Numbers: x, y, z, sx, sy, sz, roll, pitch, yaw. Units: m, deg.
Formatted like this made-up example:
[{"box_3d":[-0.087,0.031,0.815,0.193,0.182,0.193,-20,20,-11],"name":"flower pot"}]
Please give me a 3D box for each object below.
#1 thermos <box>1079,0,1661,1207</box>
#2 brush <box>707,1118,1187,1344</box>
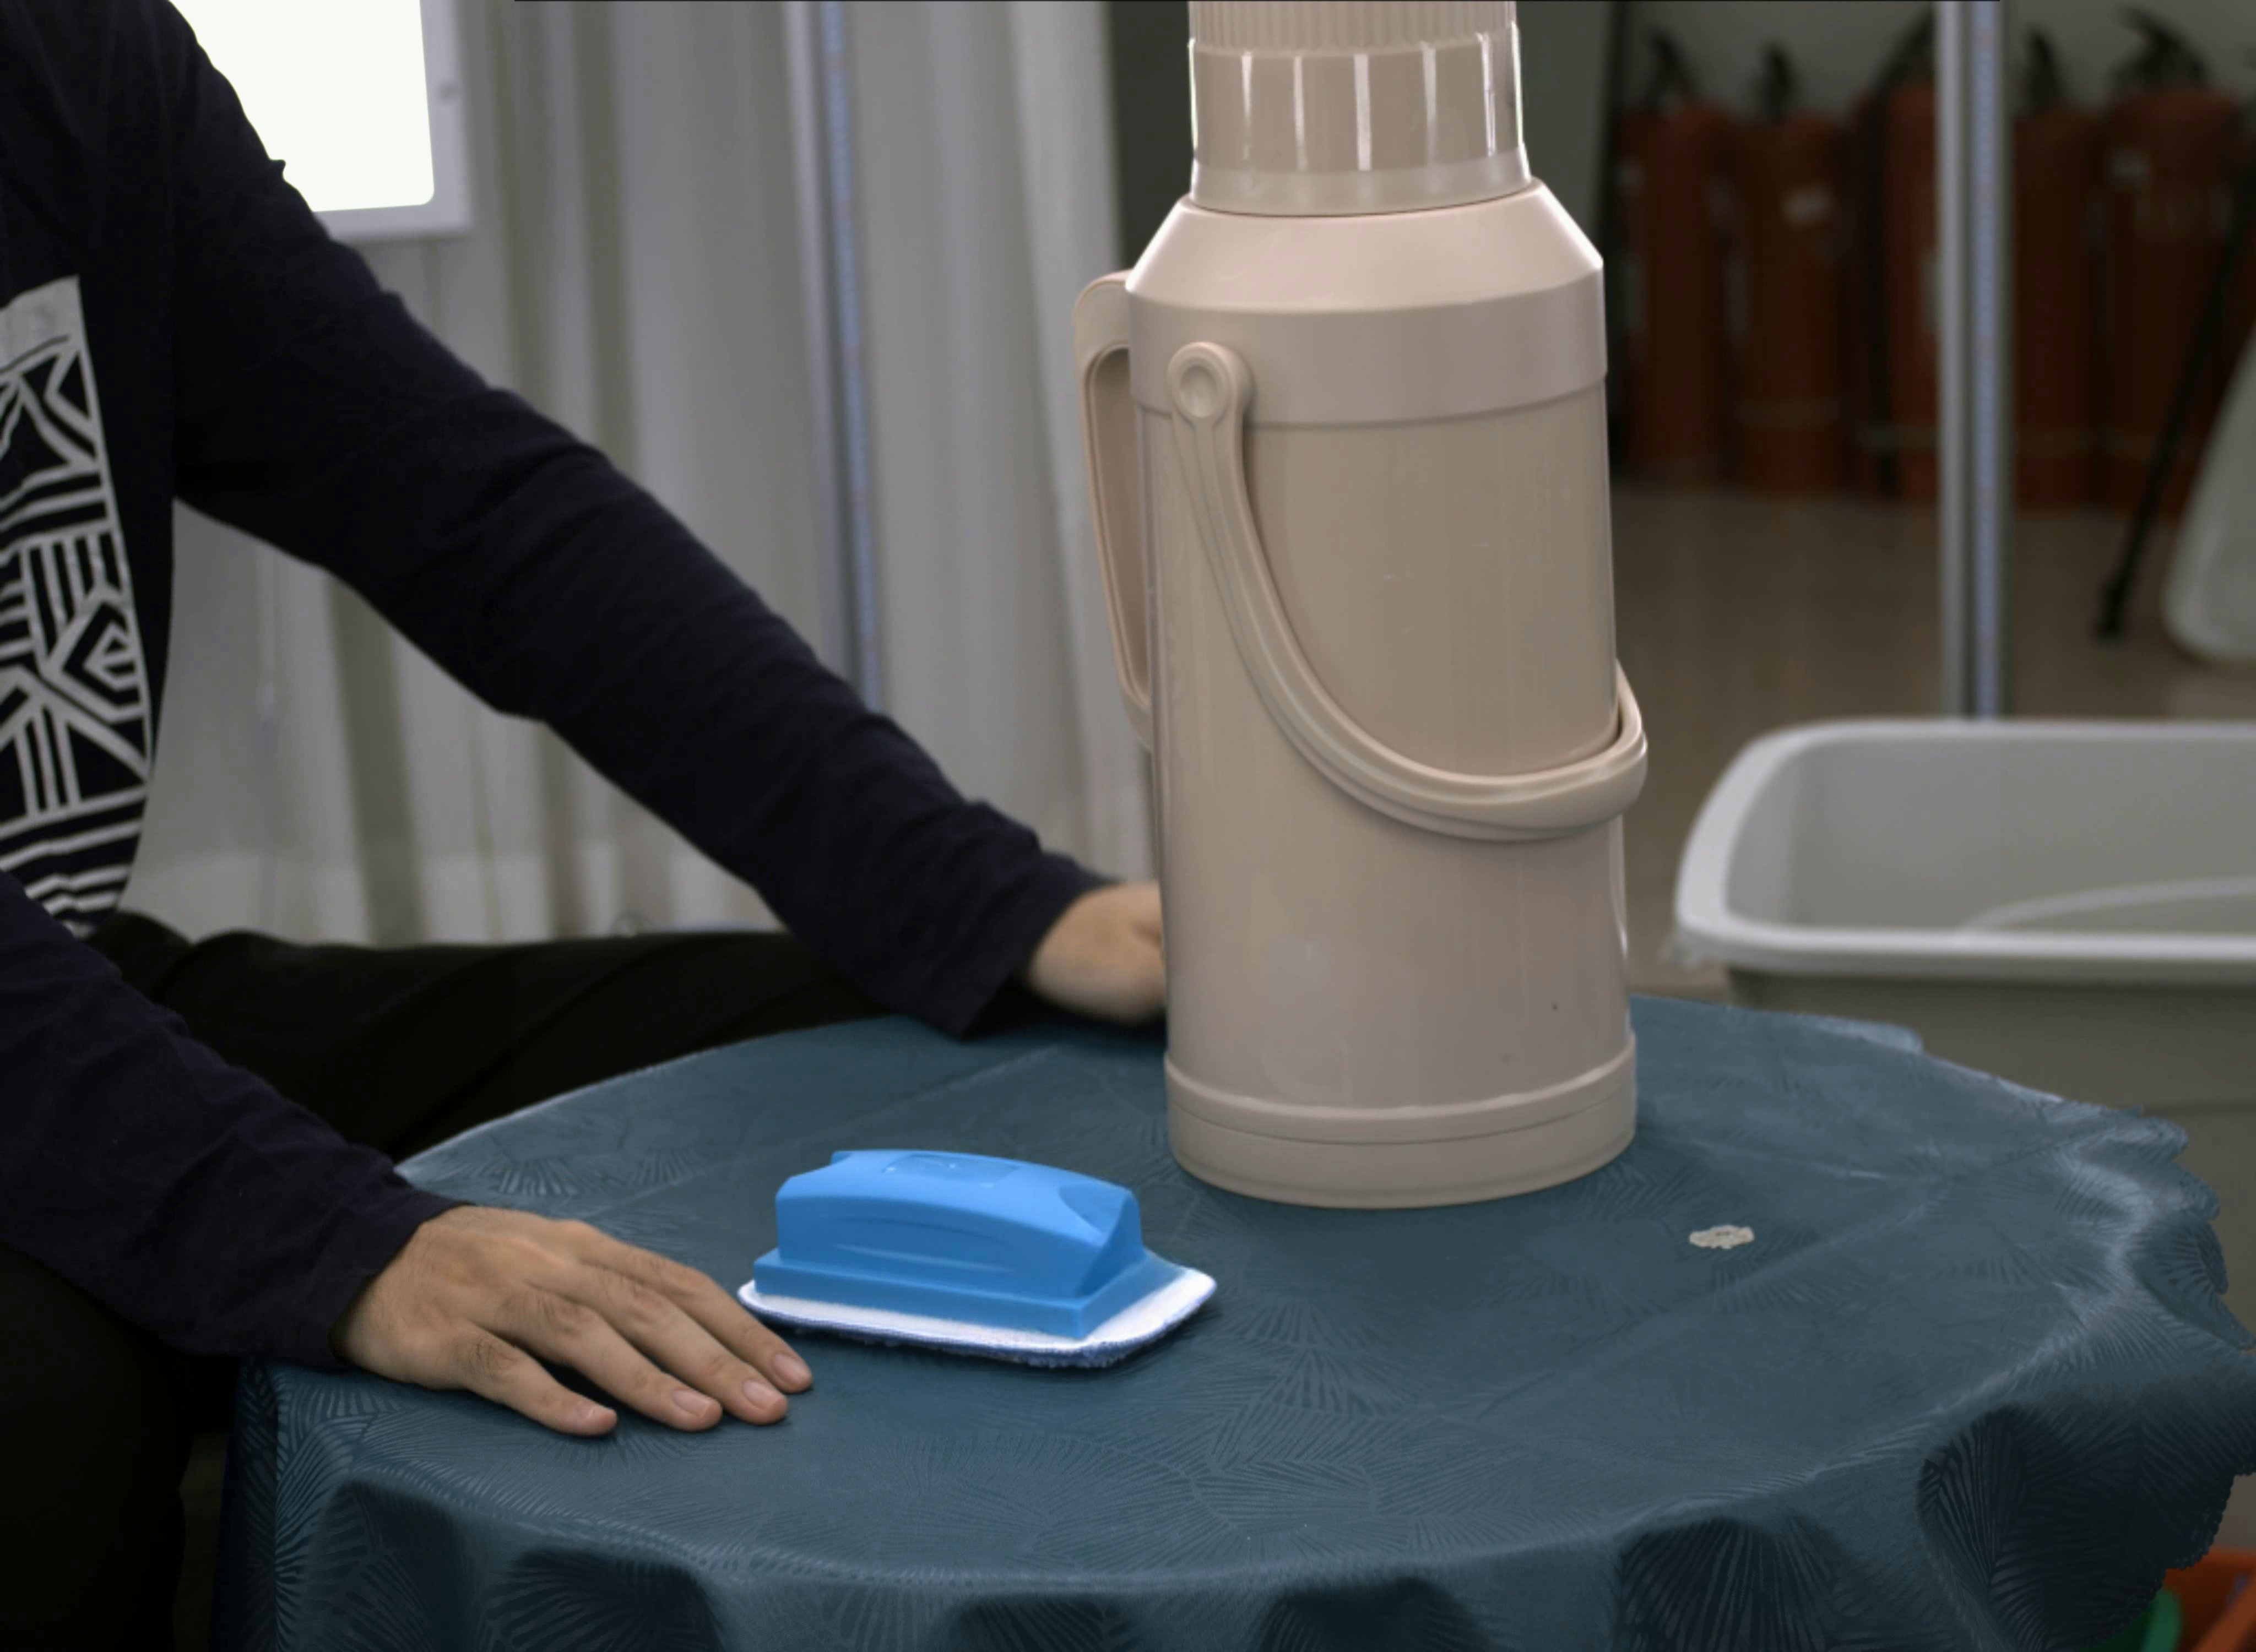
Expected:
[{"box_3d":[0.075,-0.091,1.777,0.208,0.410,0.172,6,18,40],"name":"thermos"},{"box_3d":[-0.055,0.123,1.656,0.145,0.056,0.082,8,15,33],"name":"brush"}]
